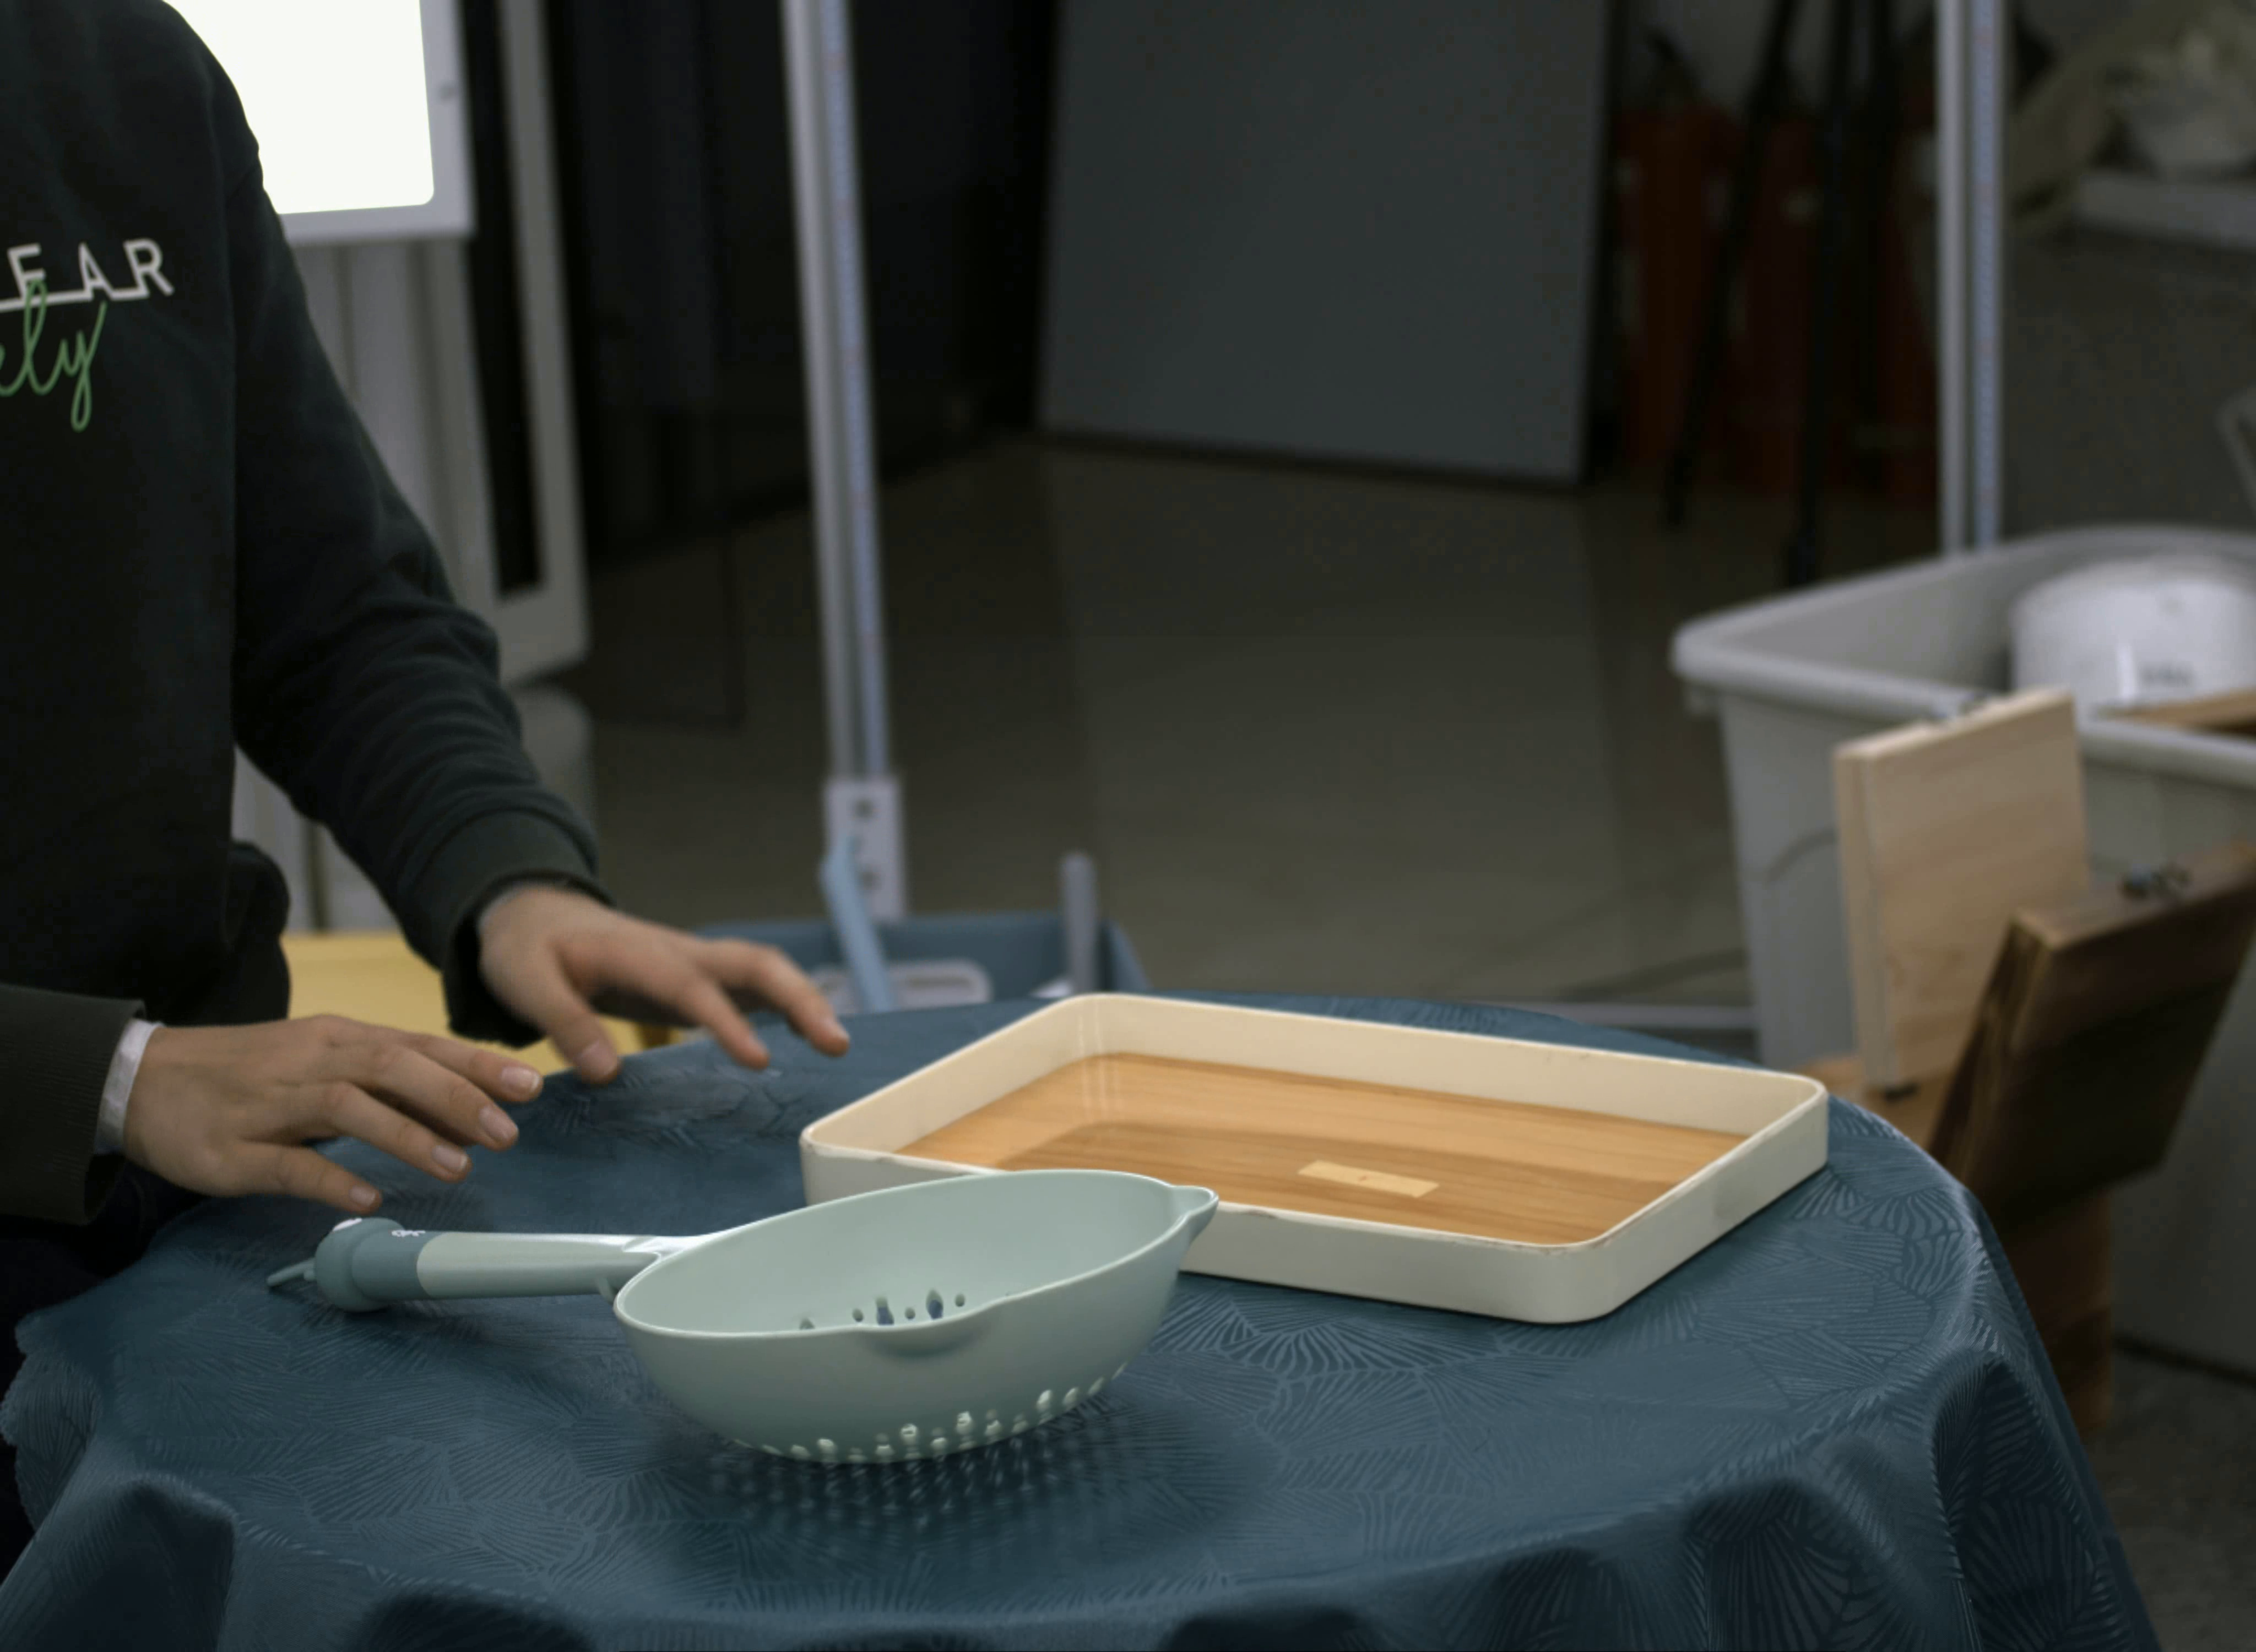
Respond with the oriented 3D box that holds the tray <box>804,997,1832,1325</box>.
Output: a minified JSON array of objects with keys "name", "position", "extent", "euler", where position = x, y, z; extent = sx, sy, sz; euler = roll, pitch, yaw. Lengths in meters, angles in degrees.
[{"name":"tray","position":[0.062,0.106,1.760],"extent":[0.302,0.028,0.188],"euler":[6,17,33]}]

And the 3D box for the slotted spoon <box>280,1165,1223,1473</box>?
[{"name":"slotted spoon","position":[-0.134,0.137,1.612],"extent":[0.362,0.076,0.166],"euler":[8,18,40]}]
